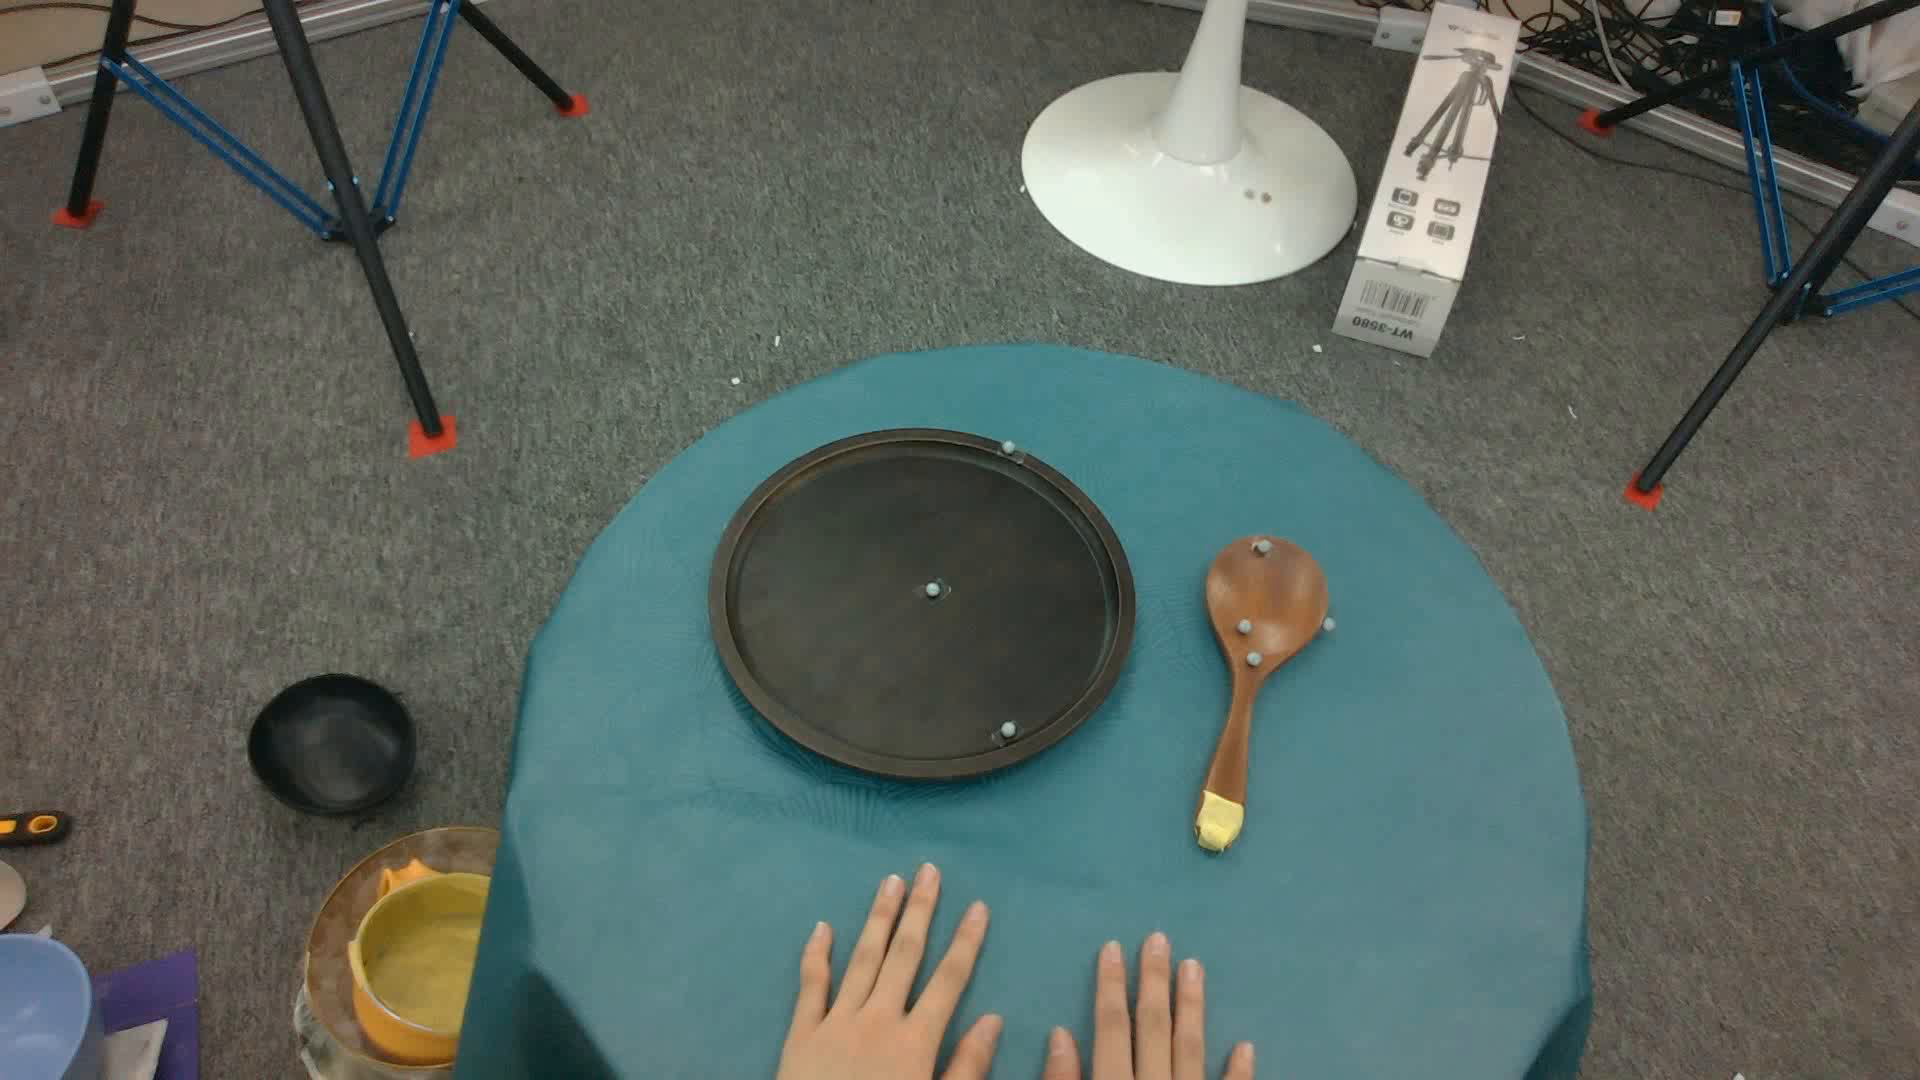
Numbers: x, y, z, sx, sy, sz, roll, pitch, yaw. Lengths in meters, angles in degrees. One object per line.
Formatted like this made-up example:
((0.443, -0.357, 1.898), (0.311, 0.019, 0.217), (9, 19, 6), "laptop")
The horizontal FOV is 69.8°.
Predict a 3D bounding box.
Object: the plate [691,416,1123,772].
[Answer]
((-0.030, 0.026, 0.816), (0.255, 0.029, 0.256), (3, 51, -3), "plate")

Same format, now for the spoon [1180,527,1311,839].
((0.158, 0.077, 0.799), (0.075, 0.017, 0.217), (16, 52, 6), "spoon")
